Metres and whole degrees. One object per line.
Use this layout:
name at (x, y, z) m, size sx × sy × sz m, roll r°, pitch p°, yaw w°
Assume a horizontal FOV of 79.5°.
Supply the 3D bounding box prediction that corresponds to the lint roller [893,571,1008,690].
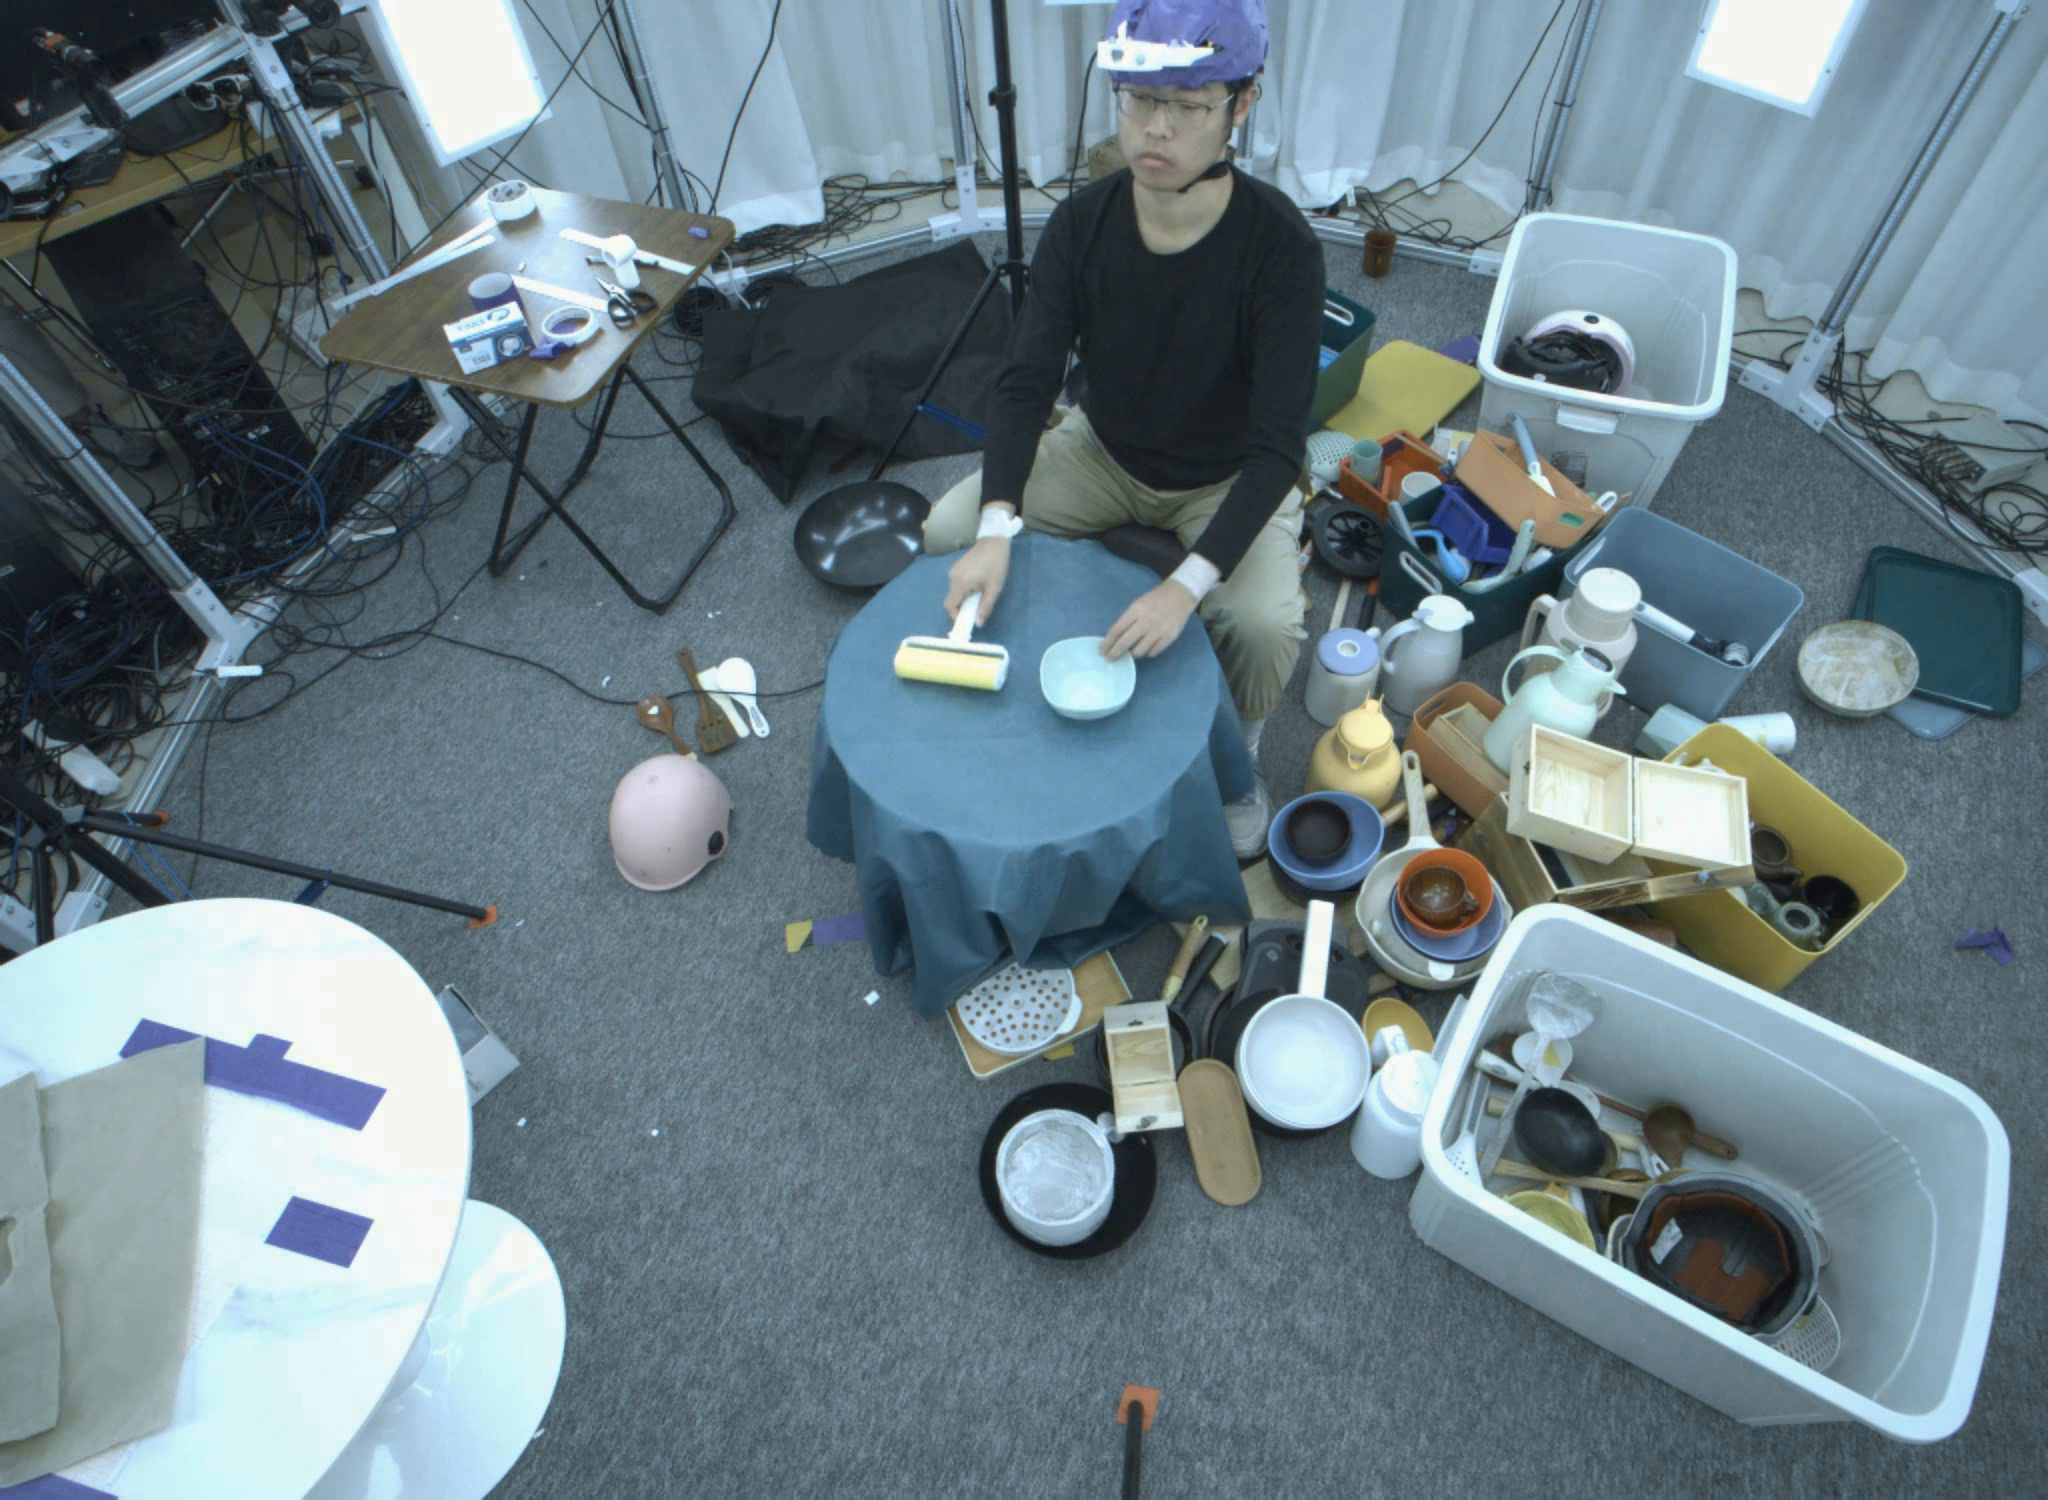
lint roller at (-0.099, -0.190, 1.858) m, size 0.172 × 0.052 × 0.191 m, roll 7°, pitch 78°, yaw 15°

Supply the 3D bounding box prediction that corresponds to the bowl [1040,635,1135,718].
bowl at (0.095, -0.098, 1.819) m, size 0.151 × 0.059 × 0.150 m, roll -1°, pitch 57°, yaw 3°
